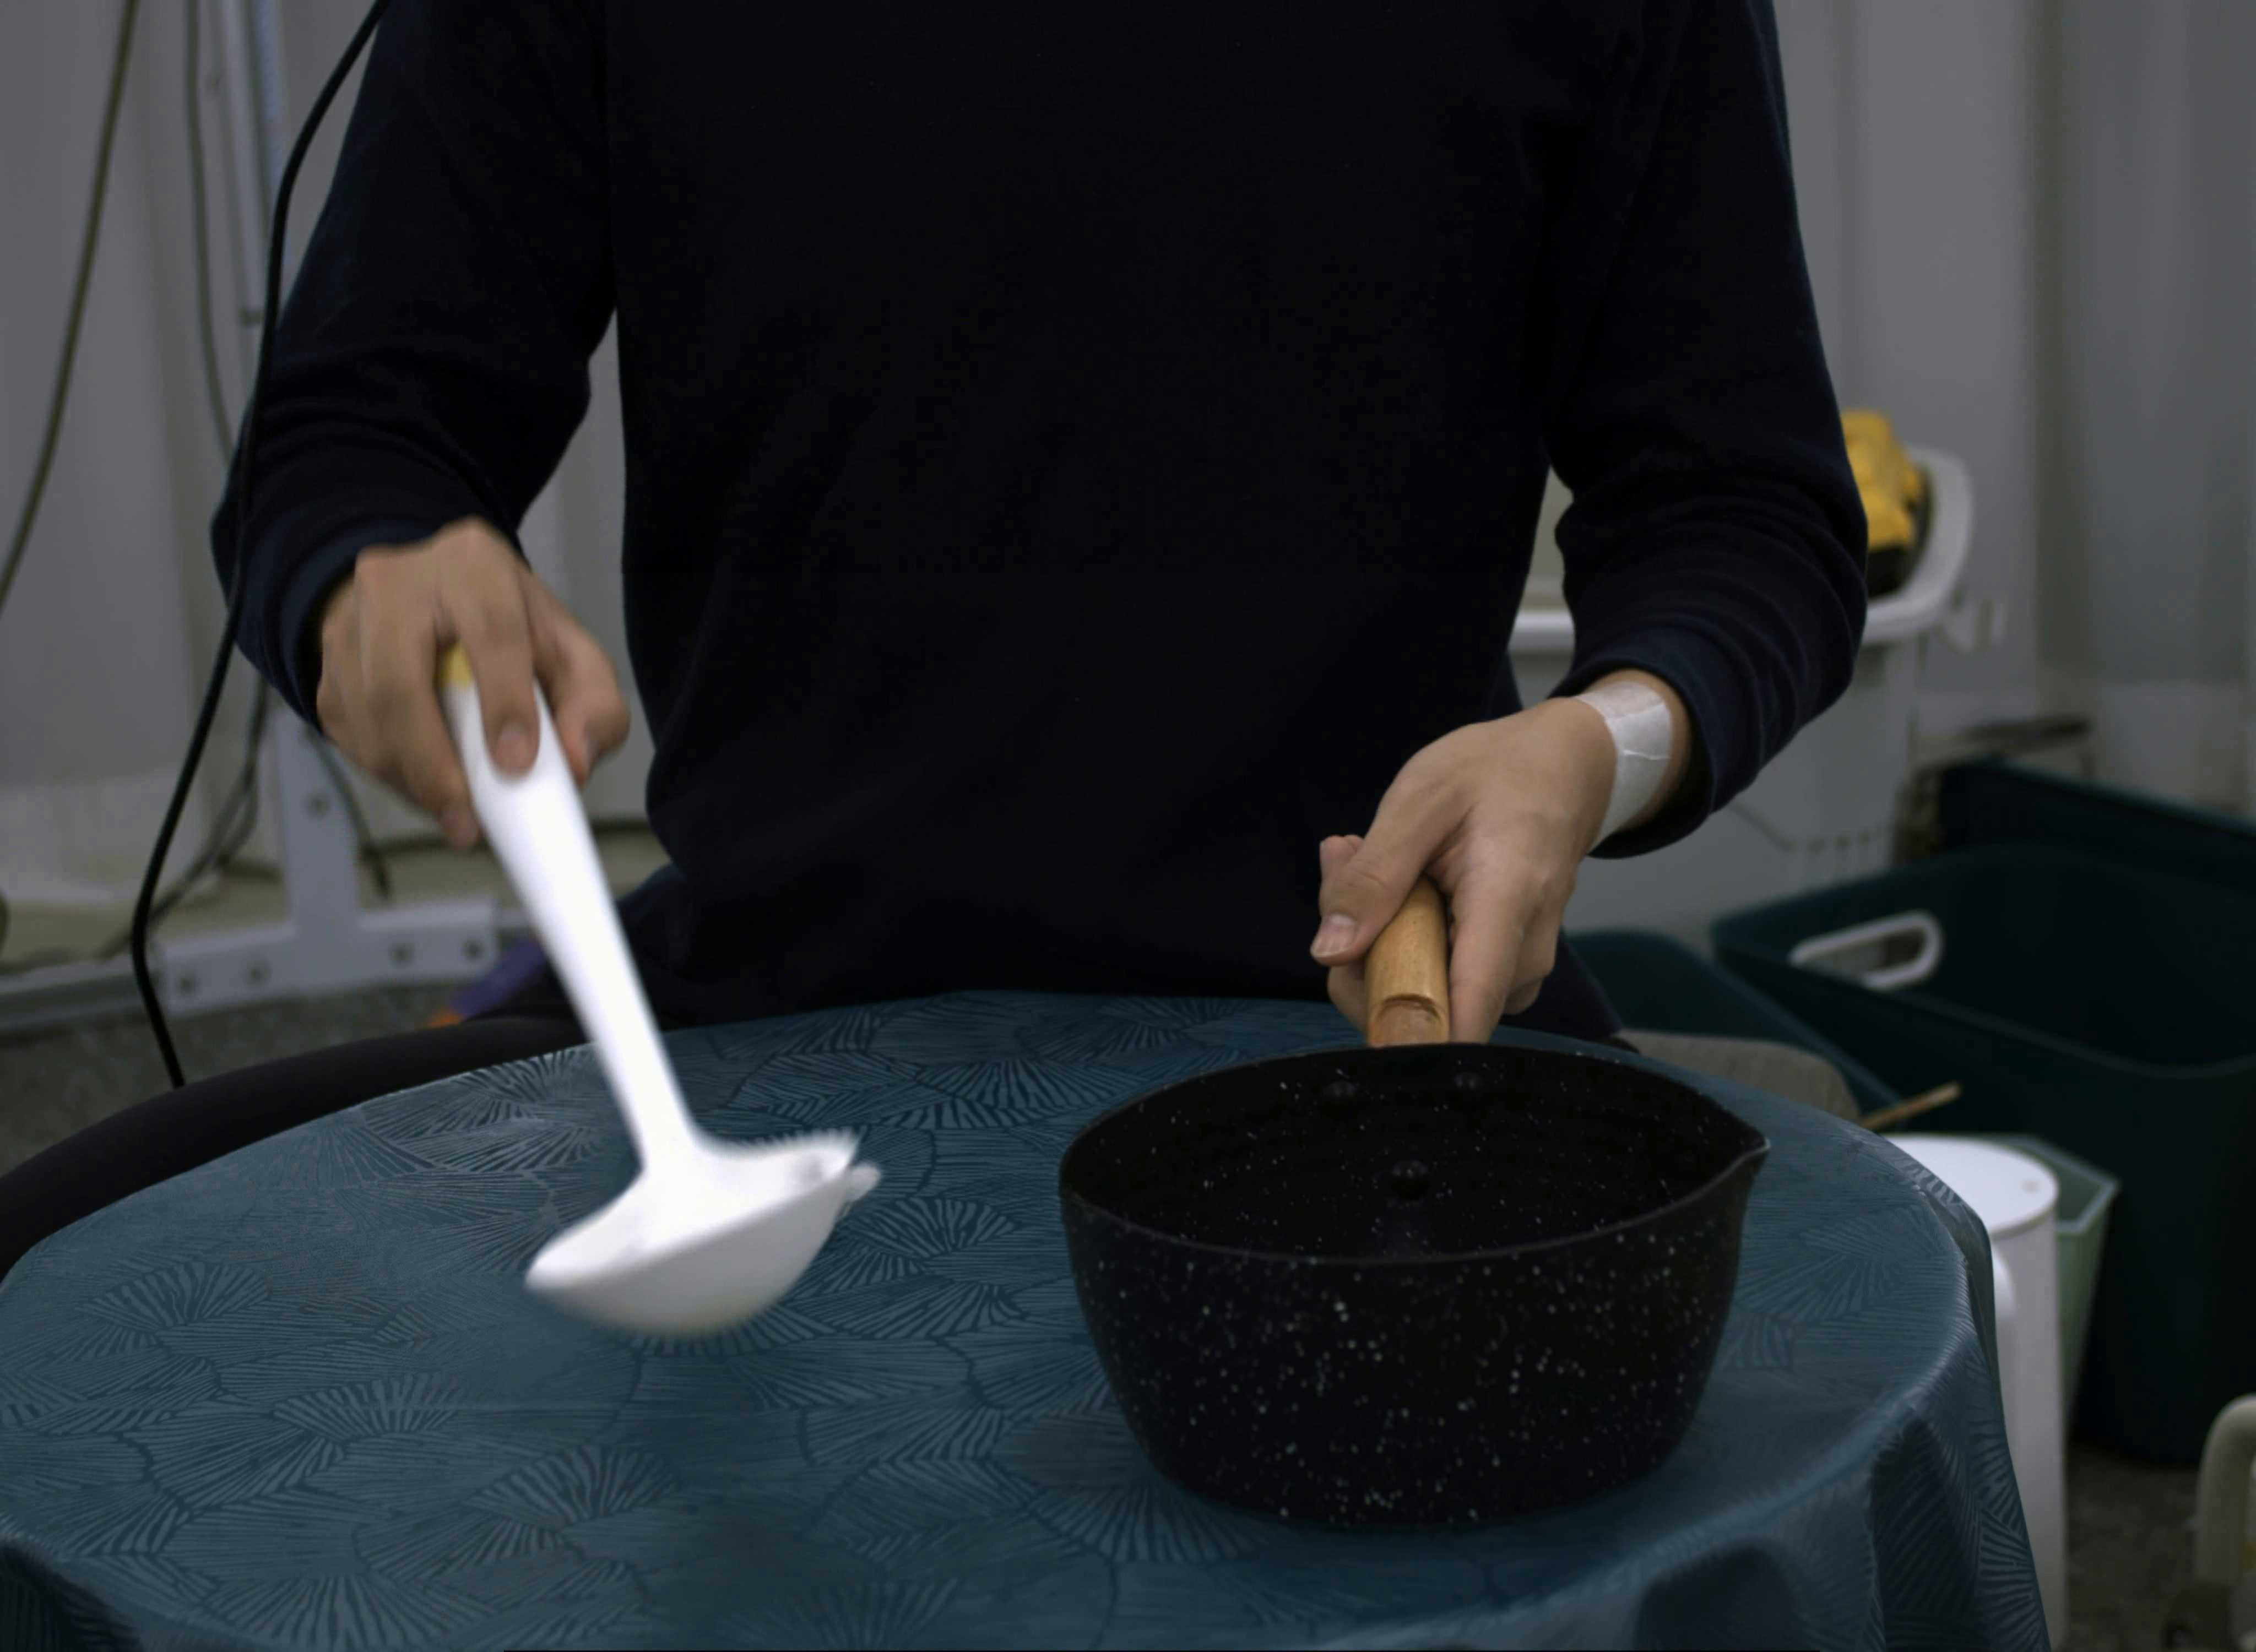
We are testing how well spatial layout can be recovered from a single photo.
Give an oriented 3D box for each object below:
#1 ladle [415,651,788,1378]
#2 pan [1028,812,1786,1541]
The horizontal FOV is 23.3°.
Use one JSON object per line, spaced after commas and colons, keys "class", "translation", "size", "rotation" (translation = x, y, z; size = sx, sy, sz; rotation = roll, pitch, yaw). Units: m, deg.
{"class": "ladle", "translation": [-0.158, 0.042, 1.504], "size": [0.090, 0.069, 0.297], "rotation": [-28, 45, 3]}
{"class": "pan", "translation": [0.080, 0.094, 1.567], "size": [0.207, 0.108, 0.345], "rotation": [-3, 16, 3]}
